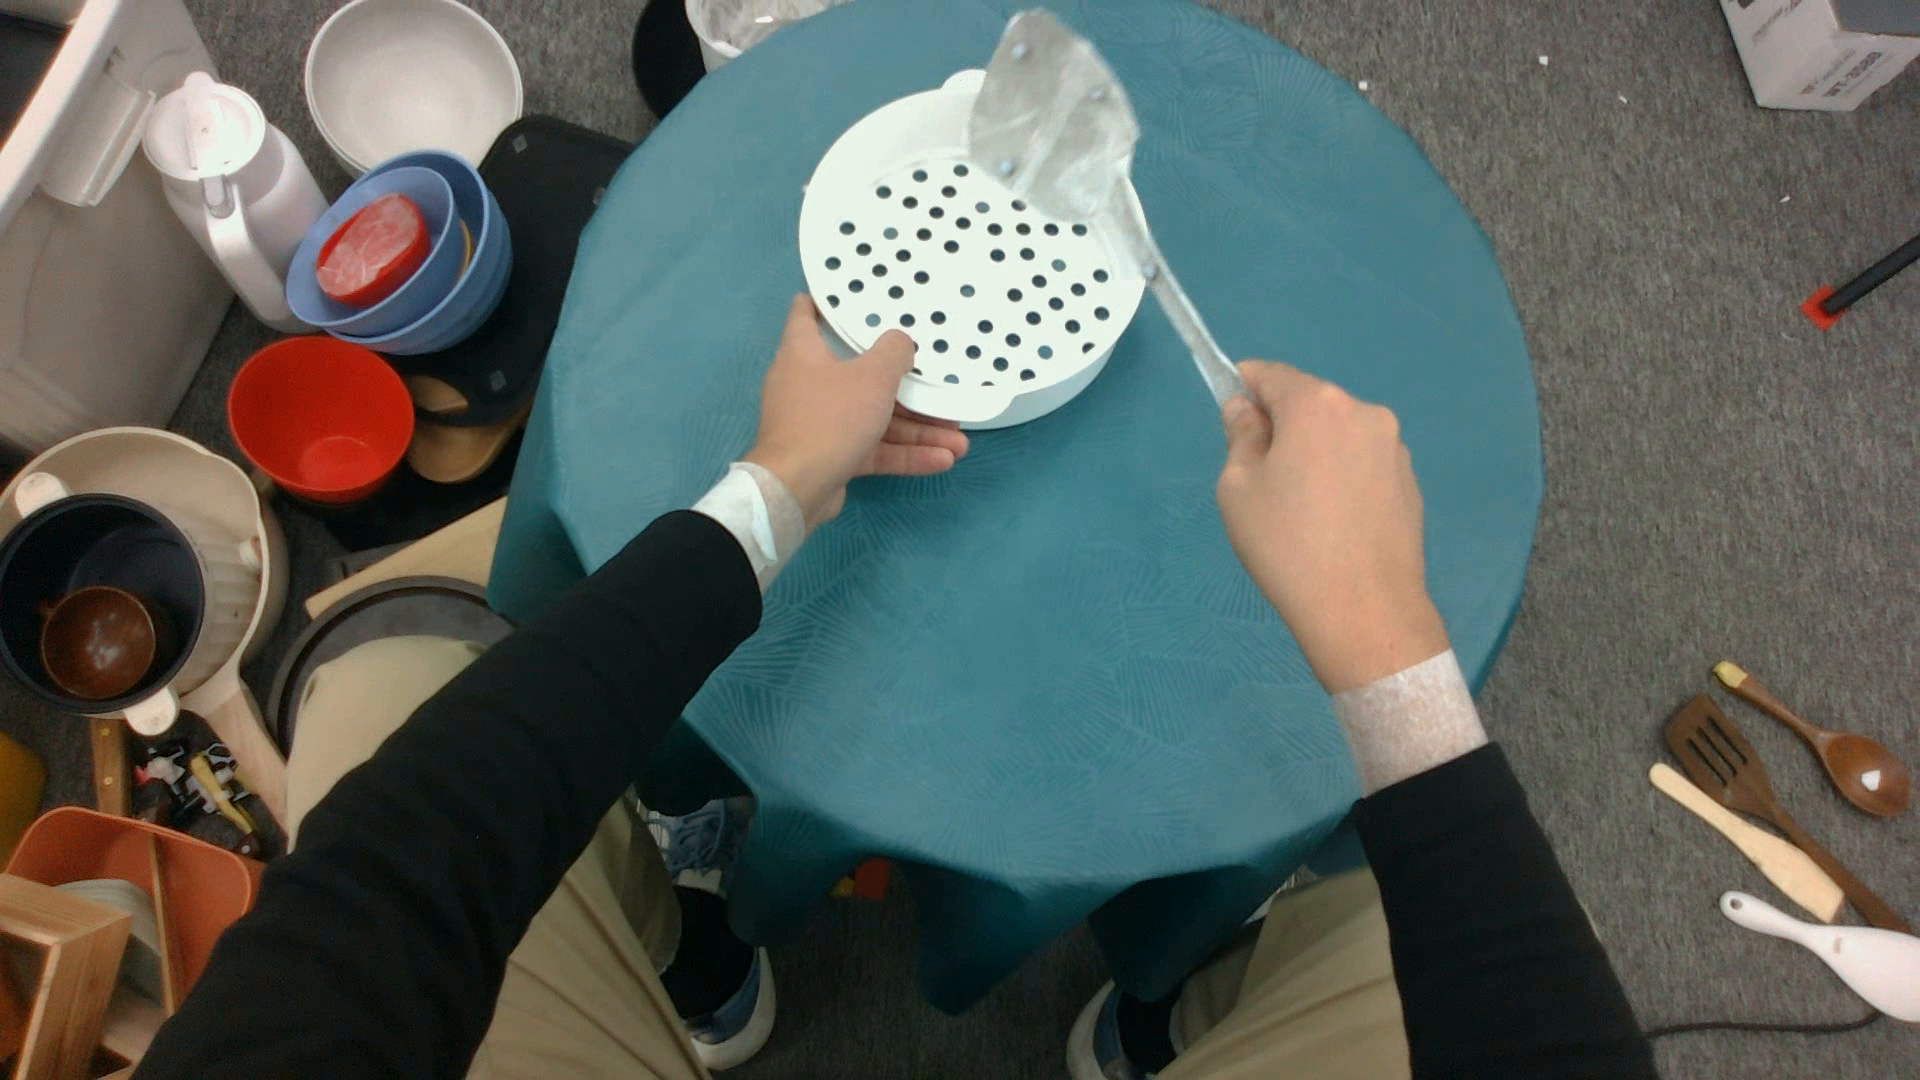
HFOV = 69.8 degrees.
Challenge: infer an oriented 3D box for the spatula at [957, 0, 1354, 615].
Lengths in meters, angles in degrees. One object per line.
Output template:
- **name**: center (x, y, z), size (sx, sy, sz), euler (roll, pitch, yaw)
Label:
- **spatula**: center (0.095, -0.123, 0.667), size (0.045, 0.098, 0.366), euler (0, 56, -38)

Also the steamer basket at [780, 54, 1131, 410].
- **steamer basket**: center (-0.003, -0.175, 0.816), size (0.202, 0.069, 0.231), euler (10, 70, -1)
